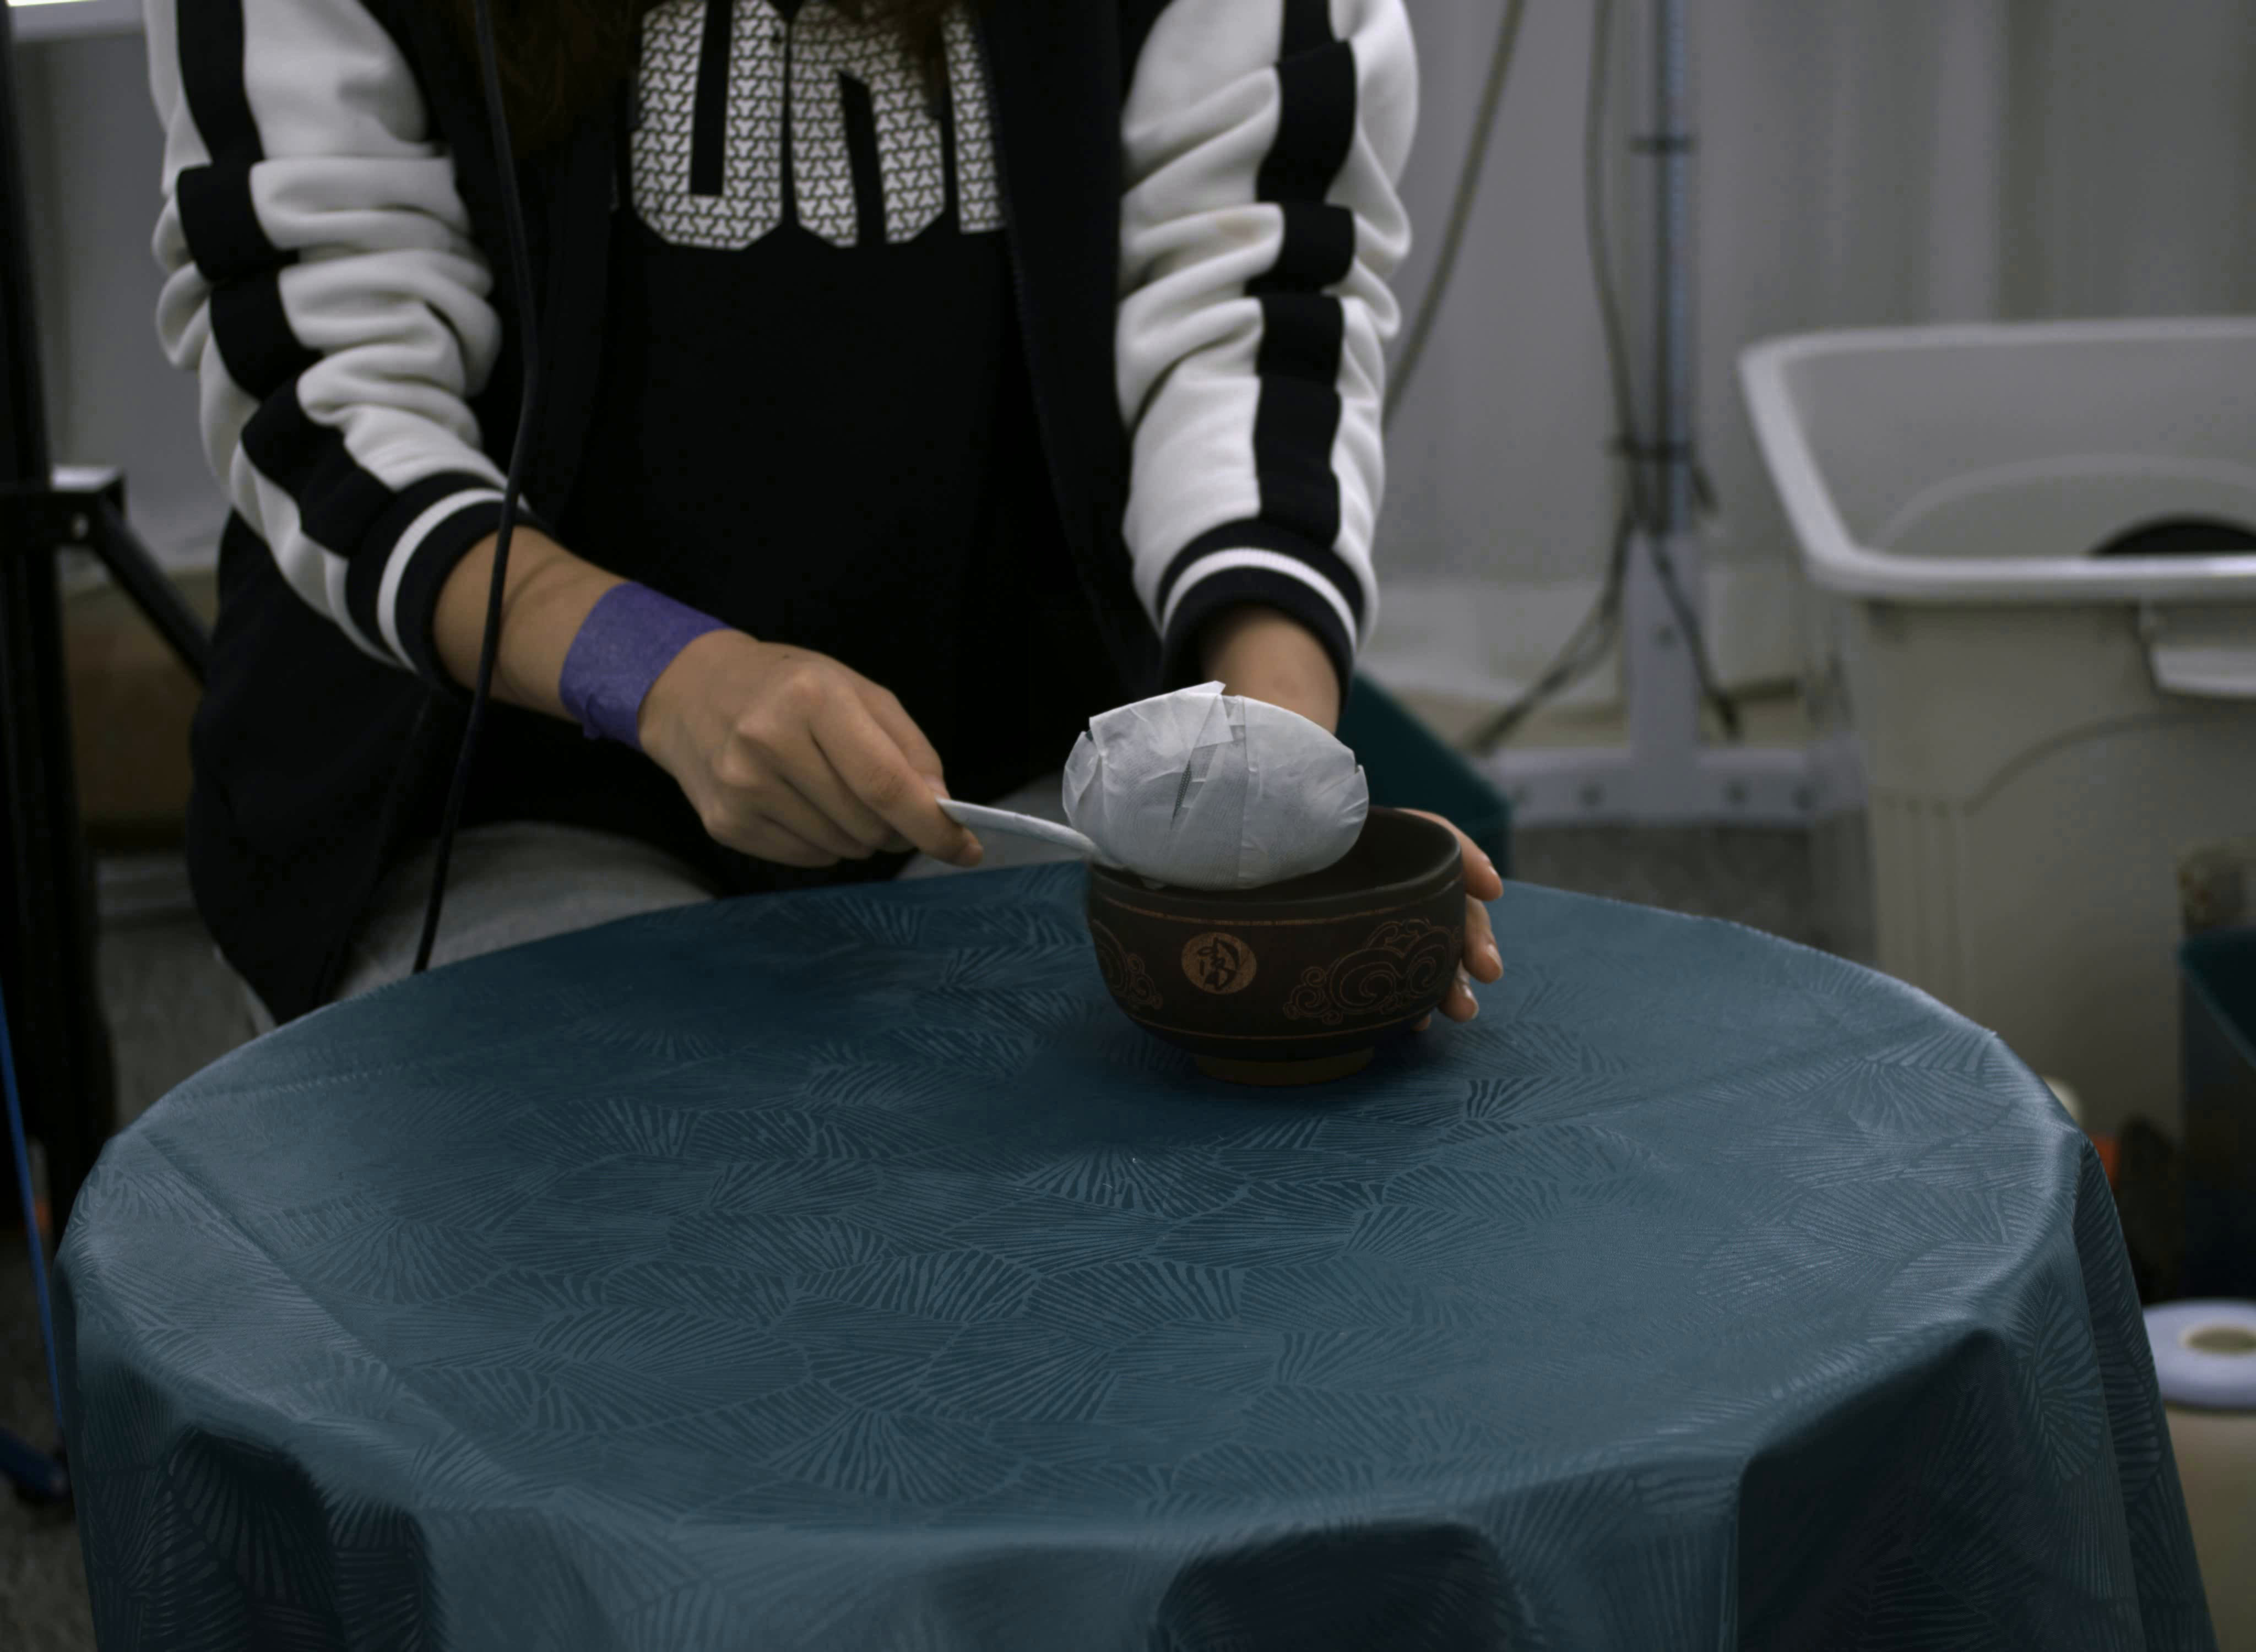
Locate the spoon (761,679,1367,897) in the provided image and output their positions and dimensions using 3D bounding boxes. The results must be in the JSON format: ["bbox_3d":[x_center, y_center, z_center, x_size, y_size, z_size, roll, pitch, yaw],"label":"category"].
[{"bbox_3d":[-0.027,-0.017,1.701,0.059,0.099,0.283,-55,30,-16],"label":"spoon"}]

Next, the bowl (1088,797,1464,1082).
[{"bbox_3d":[0.047,0.039,1.661,0.117,0.070,0.118,-3,16,-1],"label":"bowl"}]
